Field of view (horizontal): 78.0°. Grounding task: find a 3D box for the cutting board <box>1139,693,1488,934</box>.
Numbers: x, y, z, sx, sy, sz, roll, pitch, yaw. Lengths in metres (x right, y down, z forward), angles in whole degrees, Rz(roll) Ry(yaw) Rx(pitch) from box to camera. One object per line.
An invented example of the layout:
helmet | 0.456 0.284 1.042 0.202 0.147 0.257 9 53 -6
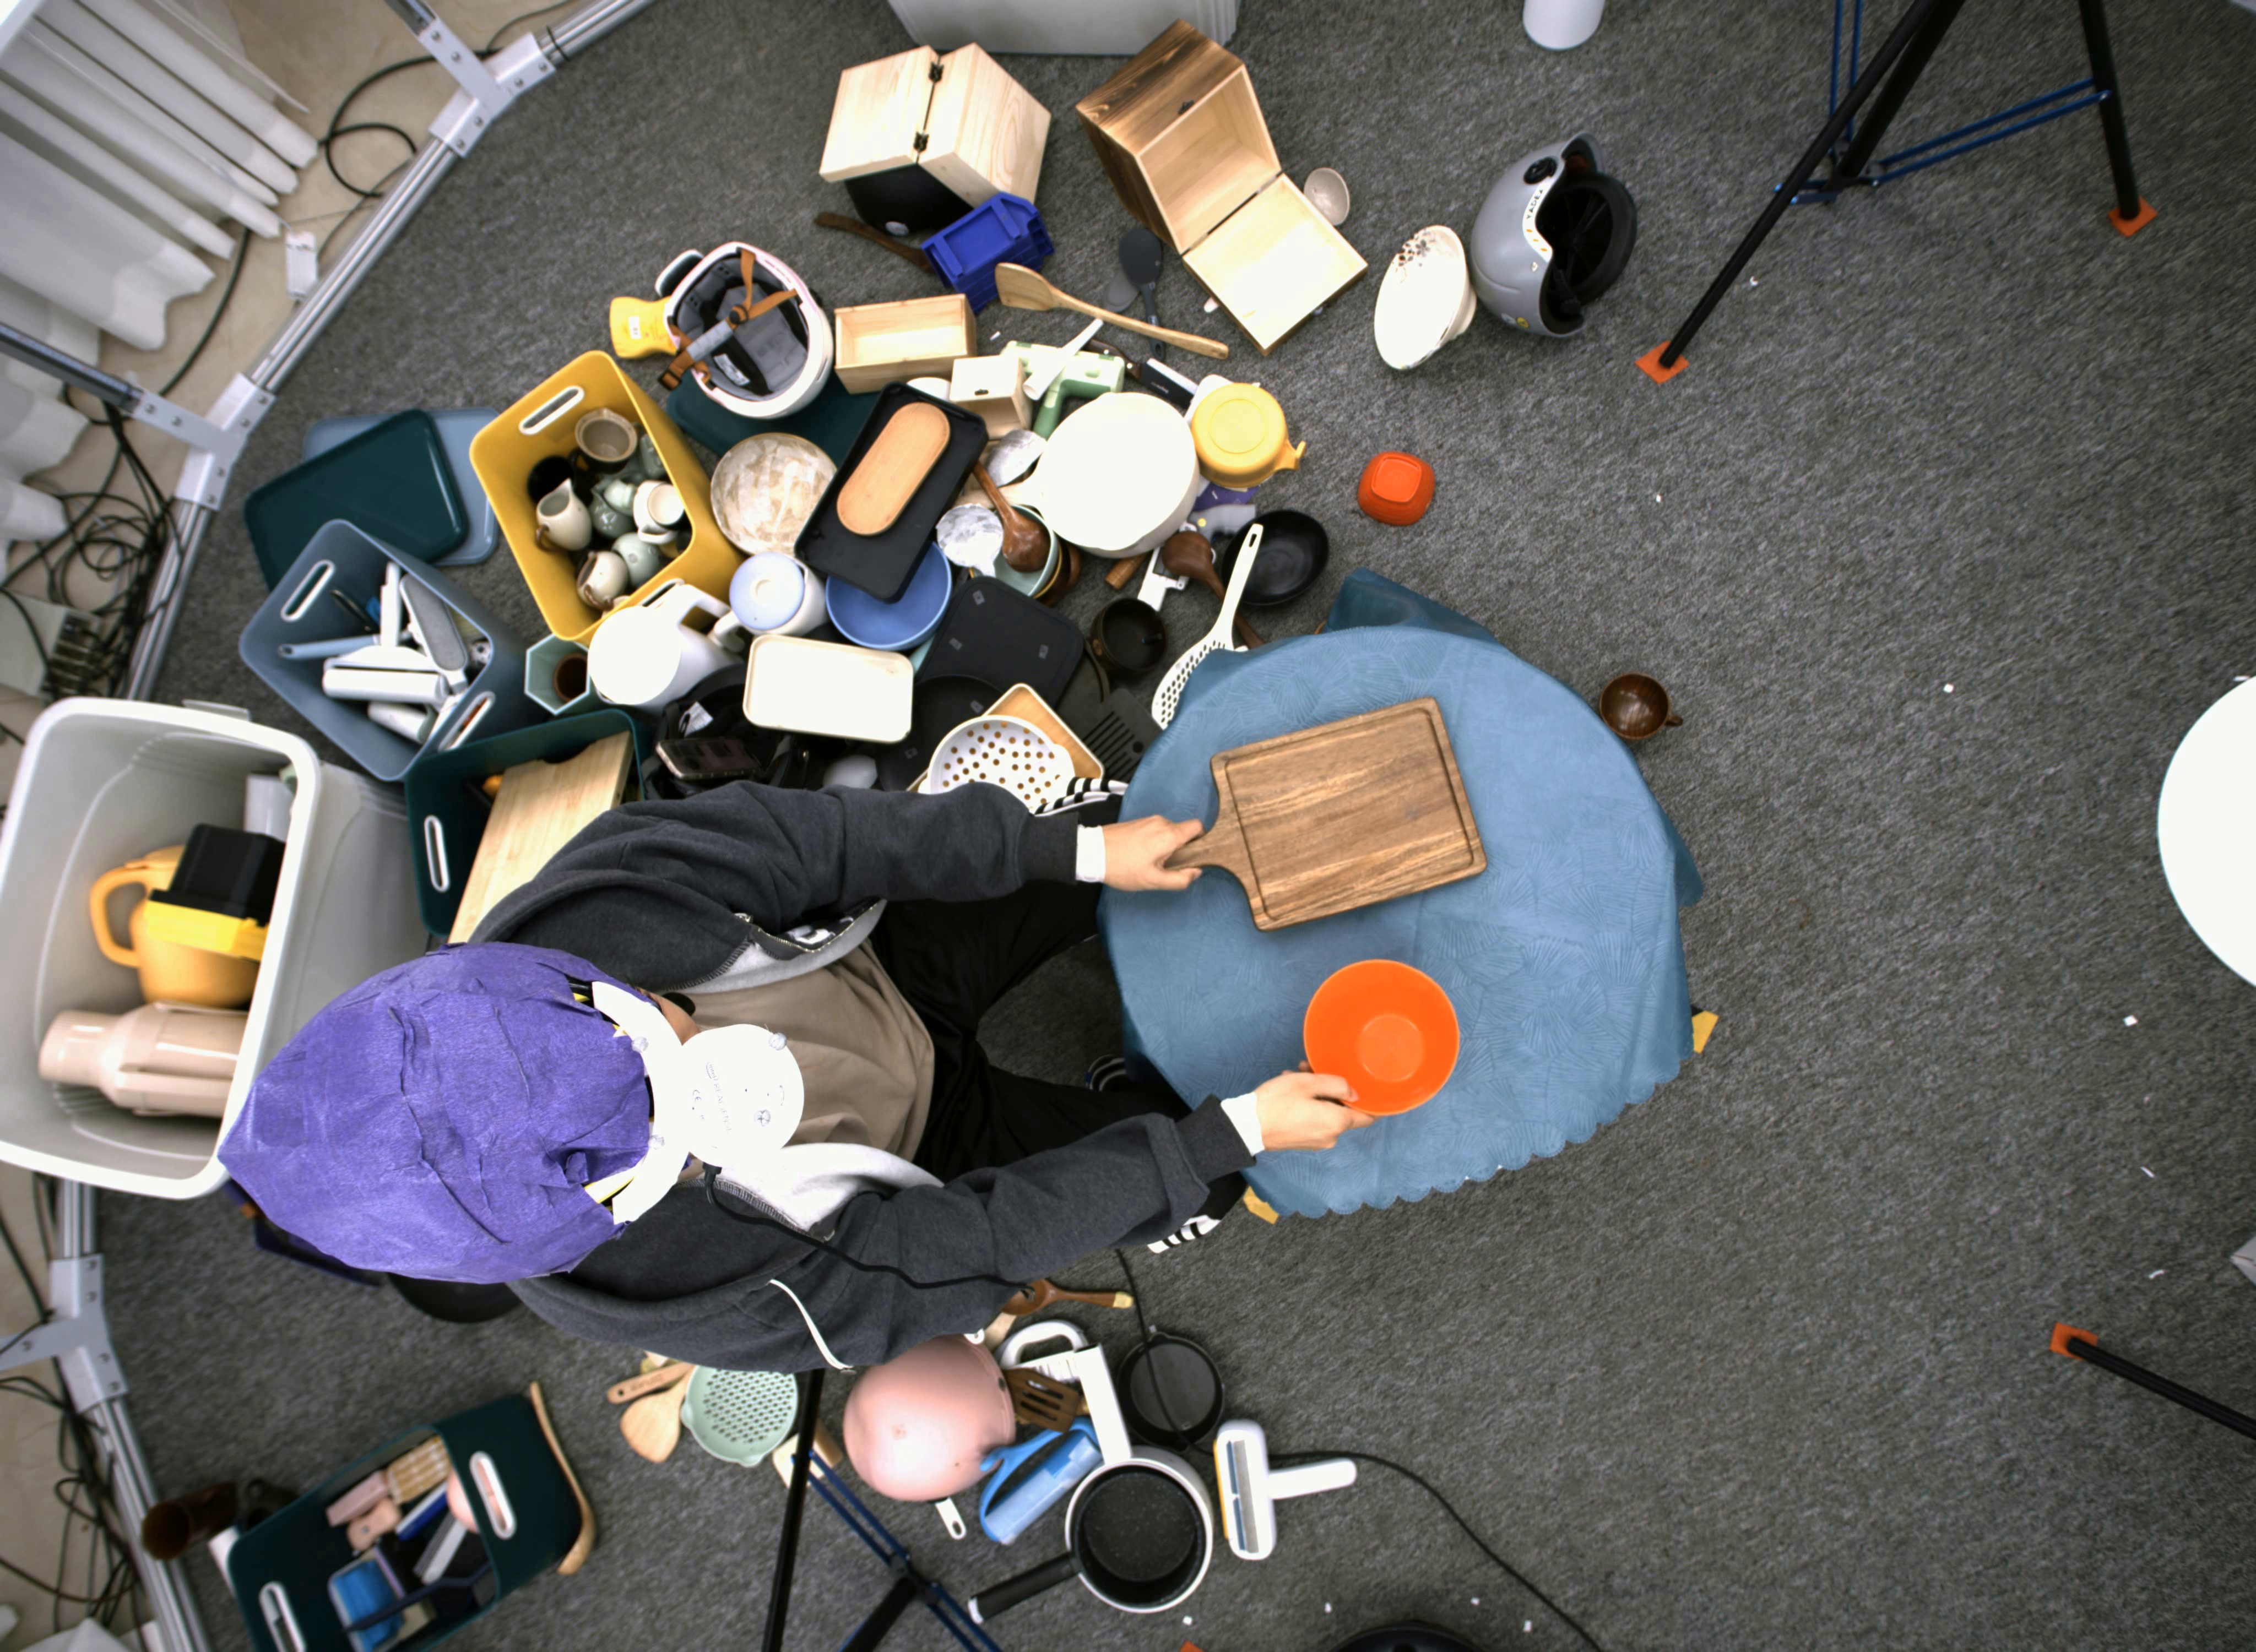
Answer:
cutting board | 0.181 -0.002 1.445 0.353 0.023 0.200 -16 84 1

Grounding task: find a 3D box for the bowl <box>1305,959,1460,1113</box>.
bowl | 0.255 0.206 1.368 0.149 0.105 0.147 -2 83 16
